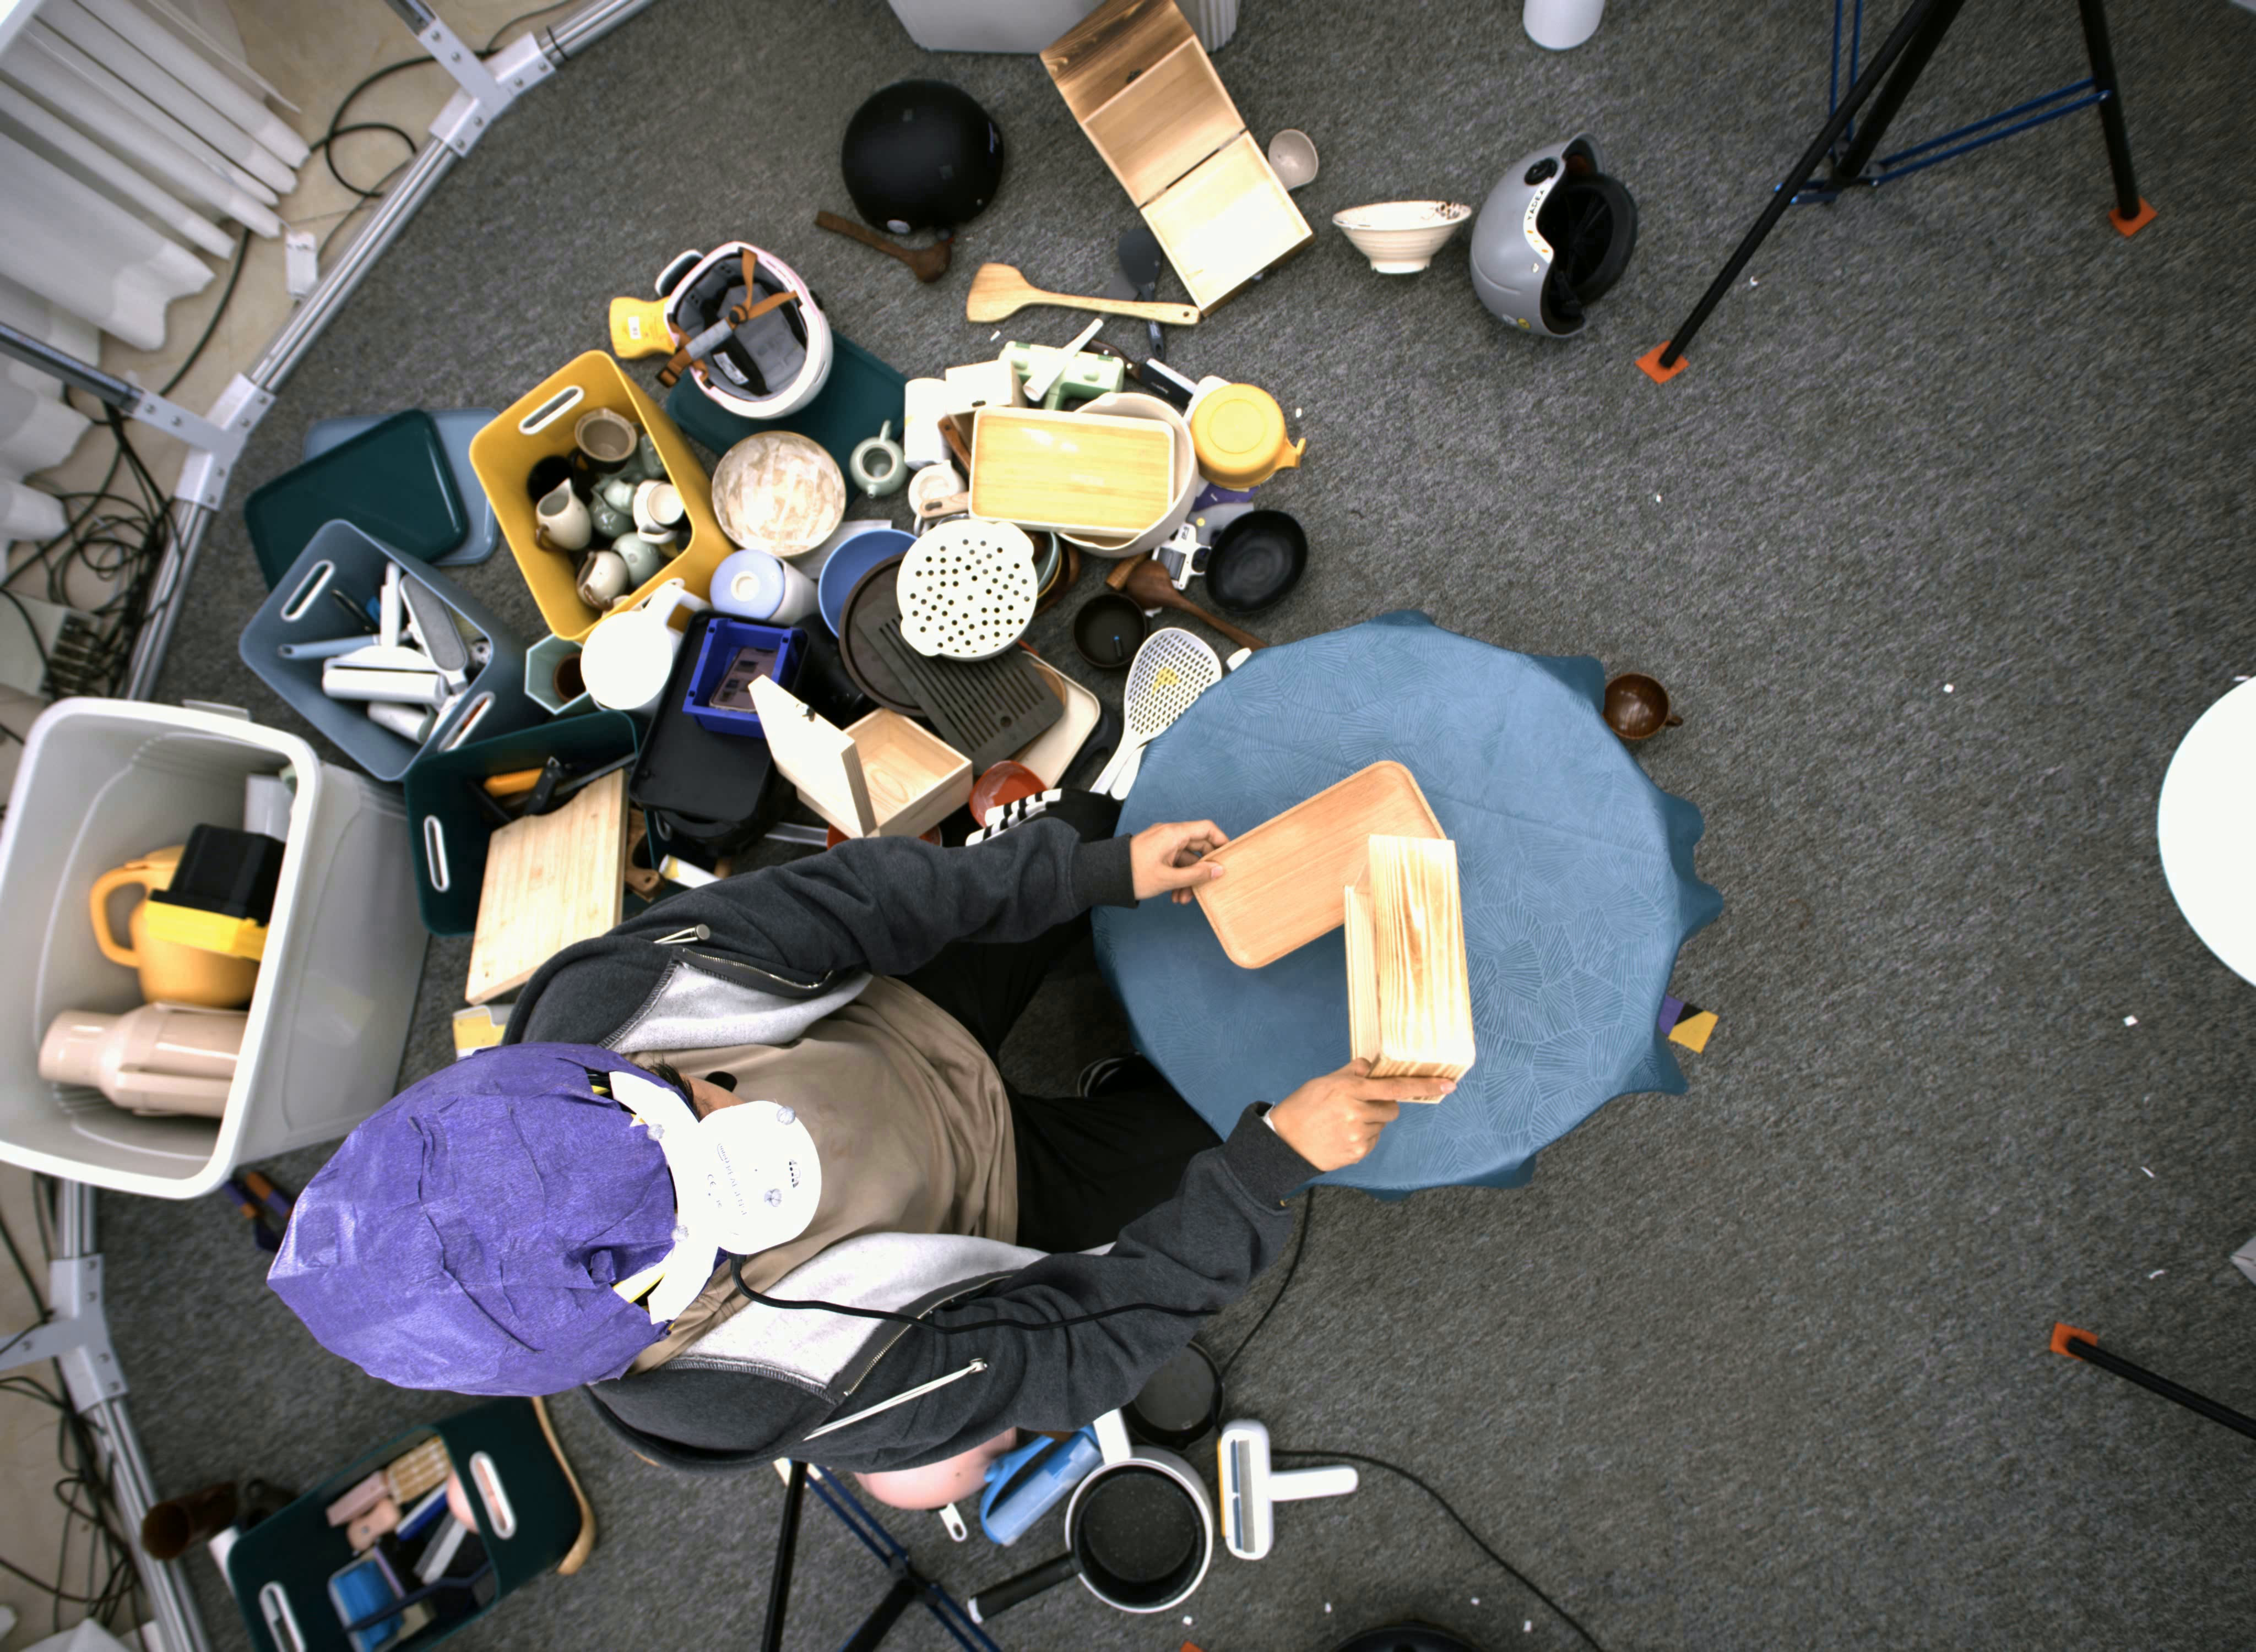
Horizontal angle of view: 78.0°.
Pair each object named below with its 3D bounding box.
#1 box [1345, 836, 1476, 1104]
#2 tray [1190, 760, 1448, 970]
[{"bbox_3d":[0.247,0.127,1.228,0.080,0.110,0.206,4,62,-4],"label":"box"},{"bbox_3d":[0.192,0.039,1.393,0.251,0.023,0.130,-28,88,4],"label":"tray"}]
